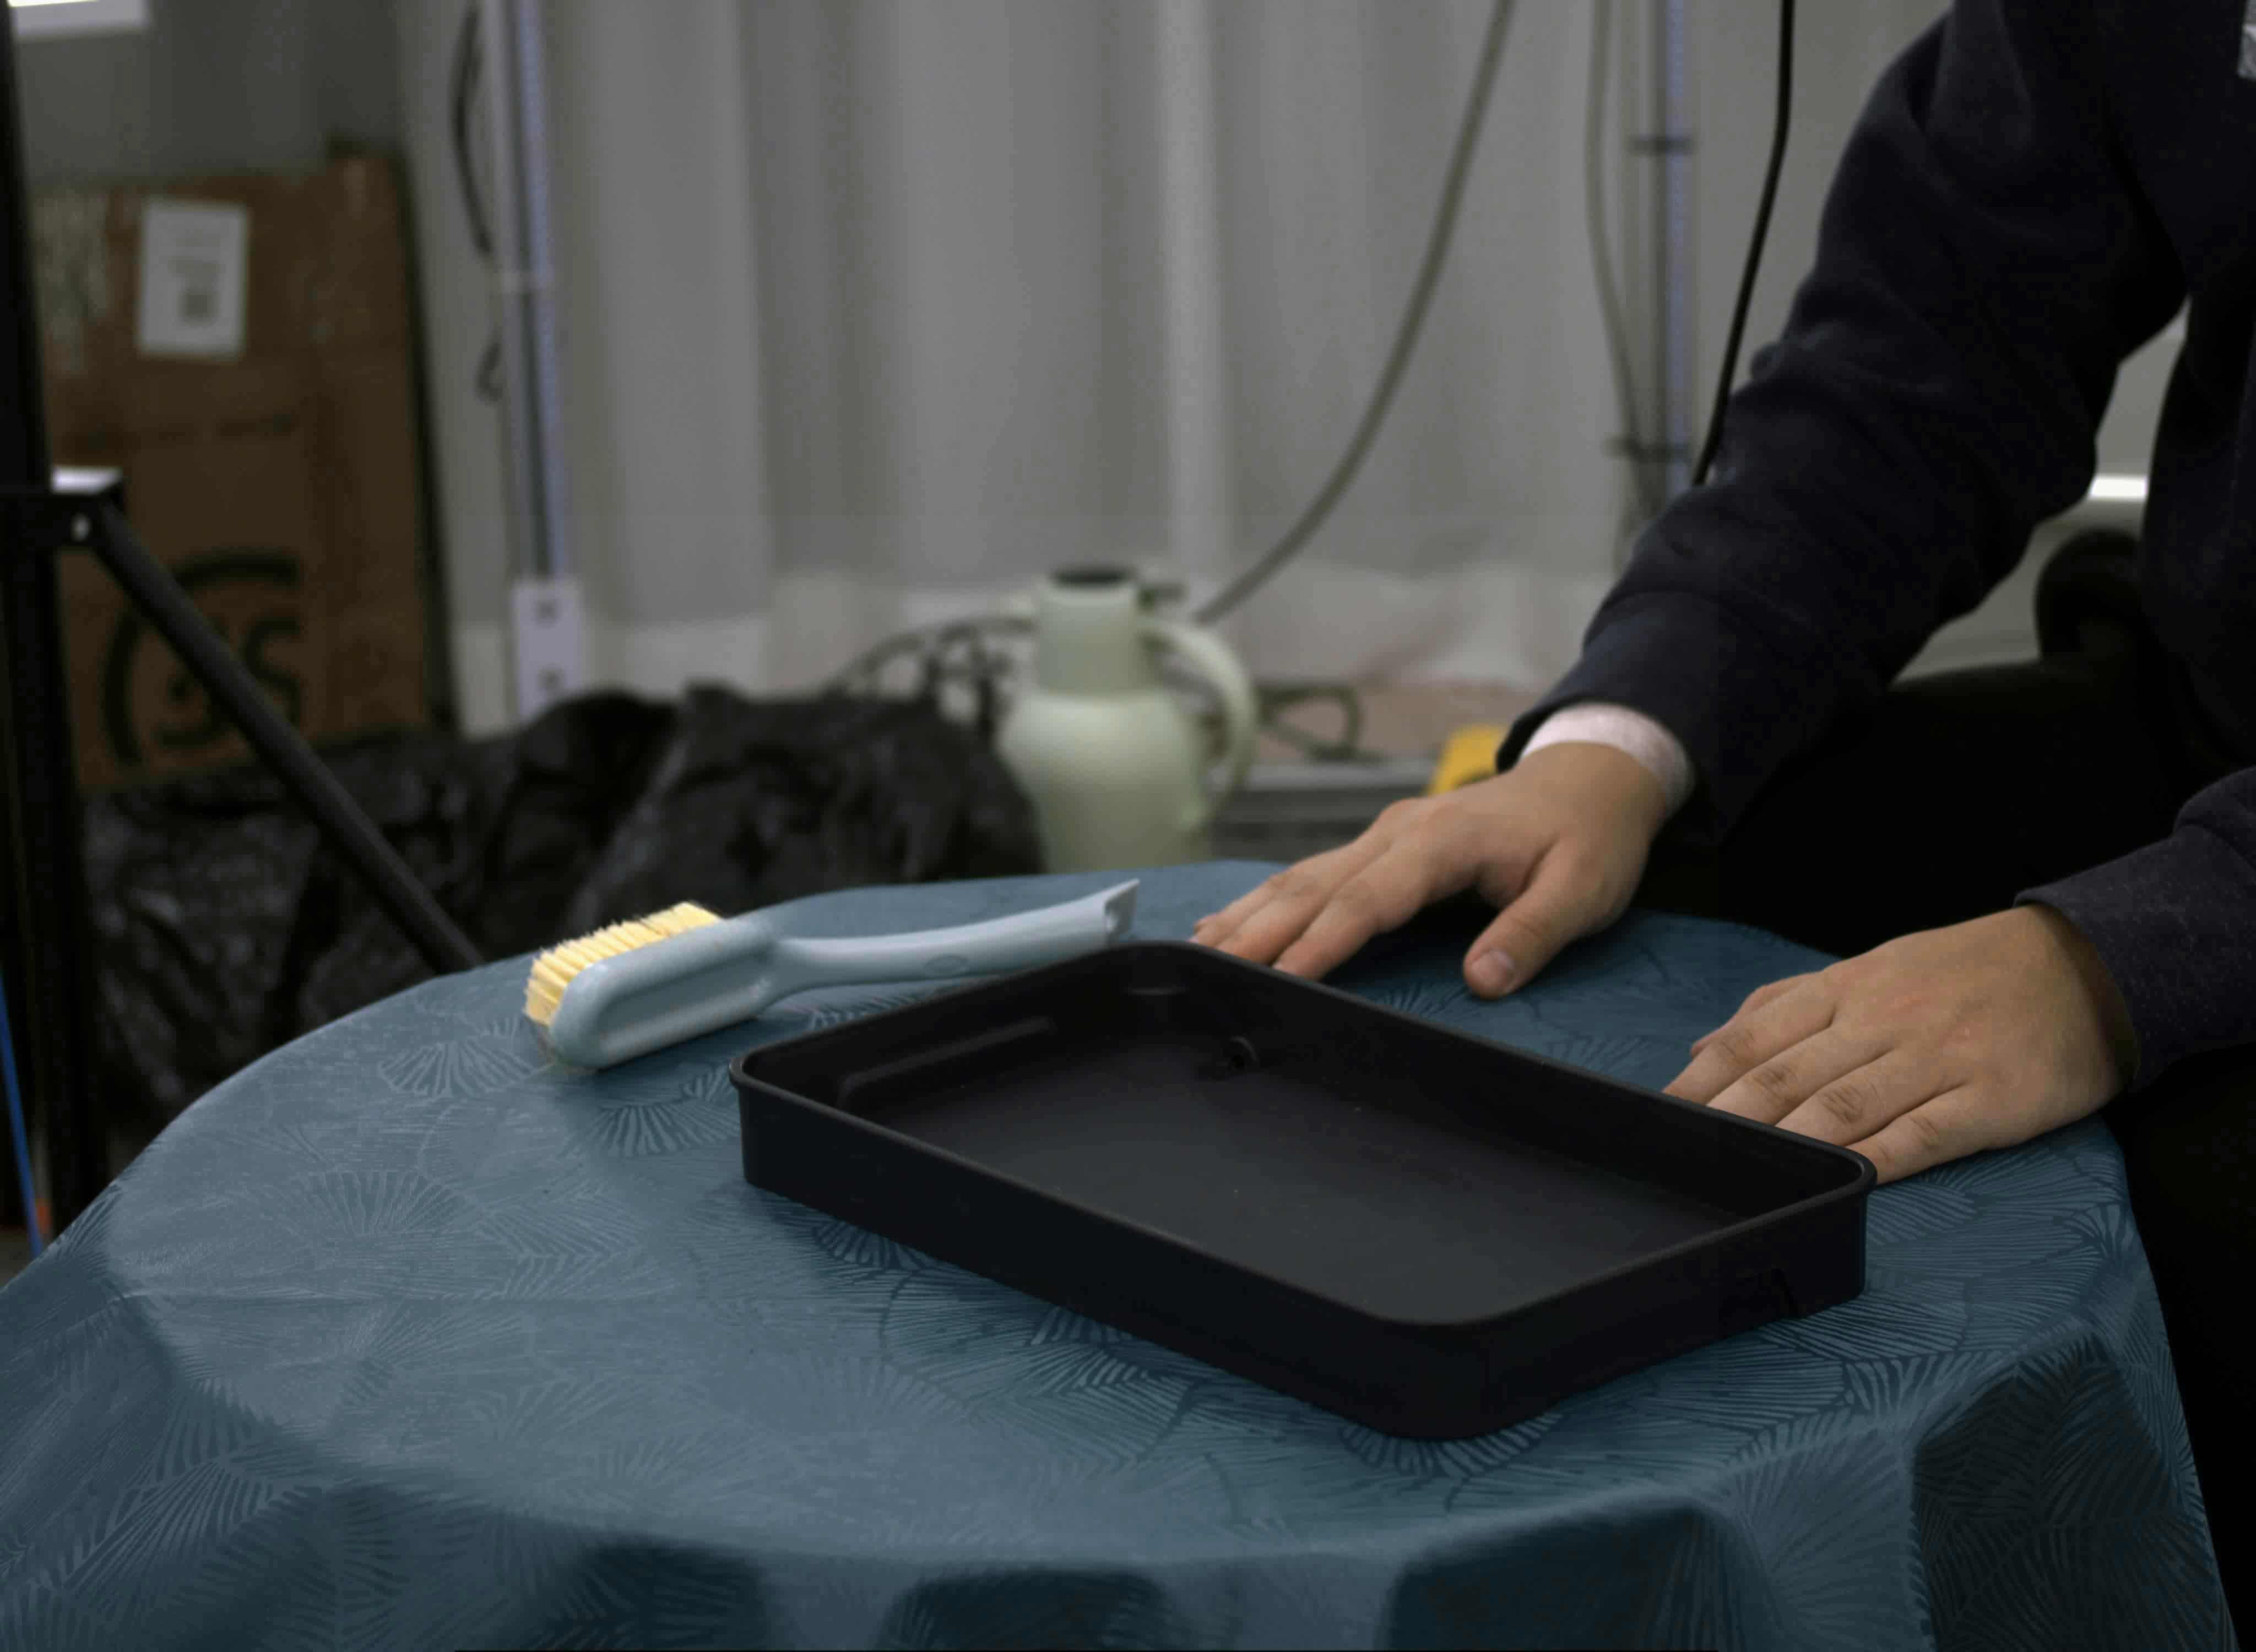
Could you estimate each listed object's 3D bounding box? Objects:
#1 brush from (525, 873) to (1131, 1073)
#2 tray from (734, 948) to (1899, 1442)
[{"bbox_3d":[-0.094,0.040,1.744,0.223,0.038,0.051,-11,29,-31],"label":"brush"},{"bbox_3d":[0.048,0.099,1.515,0.180,0.037,0.325,-15,20,-39],"label":"tray"}]
